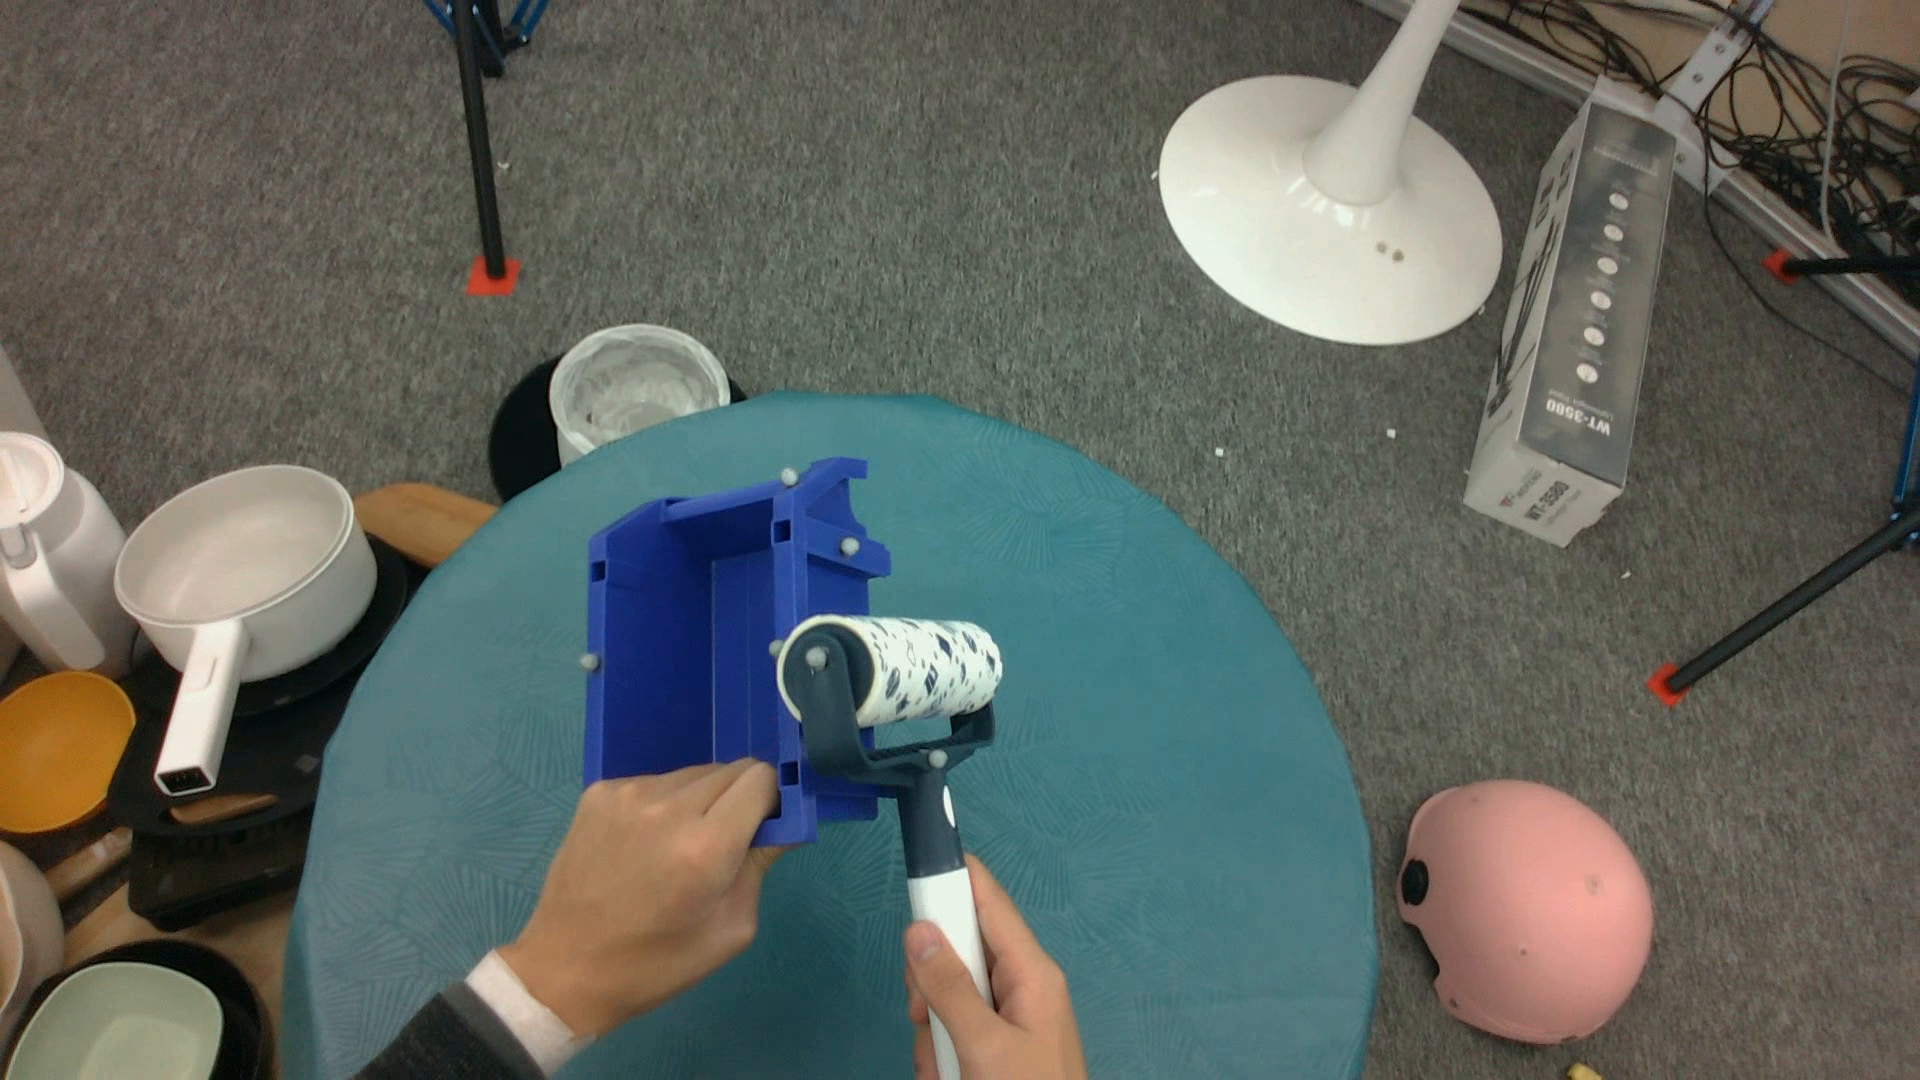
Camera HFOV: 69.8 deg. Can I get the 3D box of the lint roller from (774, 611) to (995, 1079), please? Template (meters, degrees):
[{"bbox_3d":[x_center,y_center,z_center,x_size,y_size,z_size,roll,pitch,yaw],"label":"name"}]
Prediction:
[{"bbox_3d":[-0.009,0.154,0.613,0.050,0.176,0.247,-16,81,16],"label":"lint roller"}]

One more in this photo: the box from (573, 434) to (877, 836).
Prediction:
[{"bbox_3d":[-0.111,0.043,0.647,0.124,0.082,0.179,-11,76,27],"label":"box"}]
